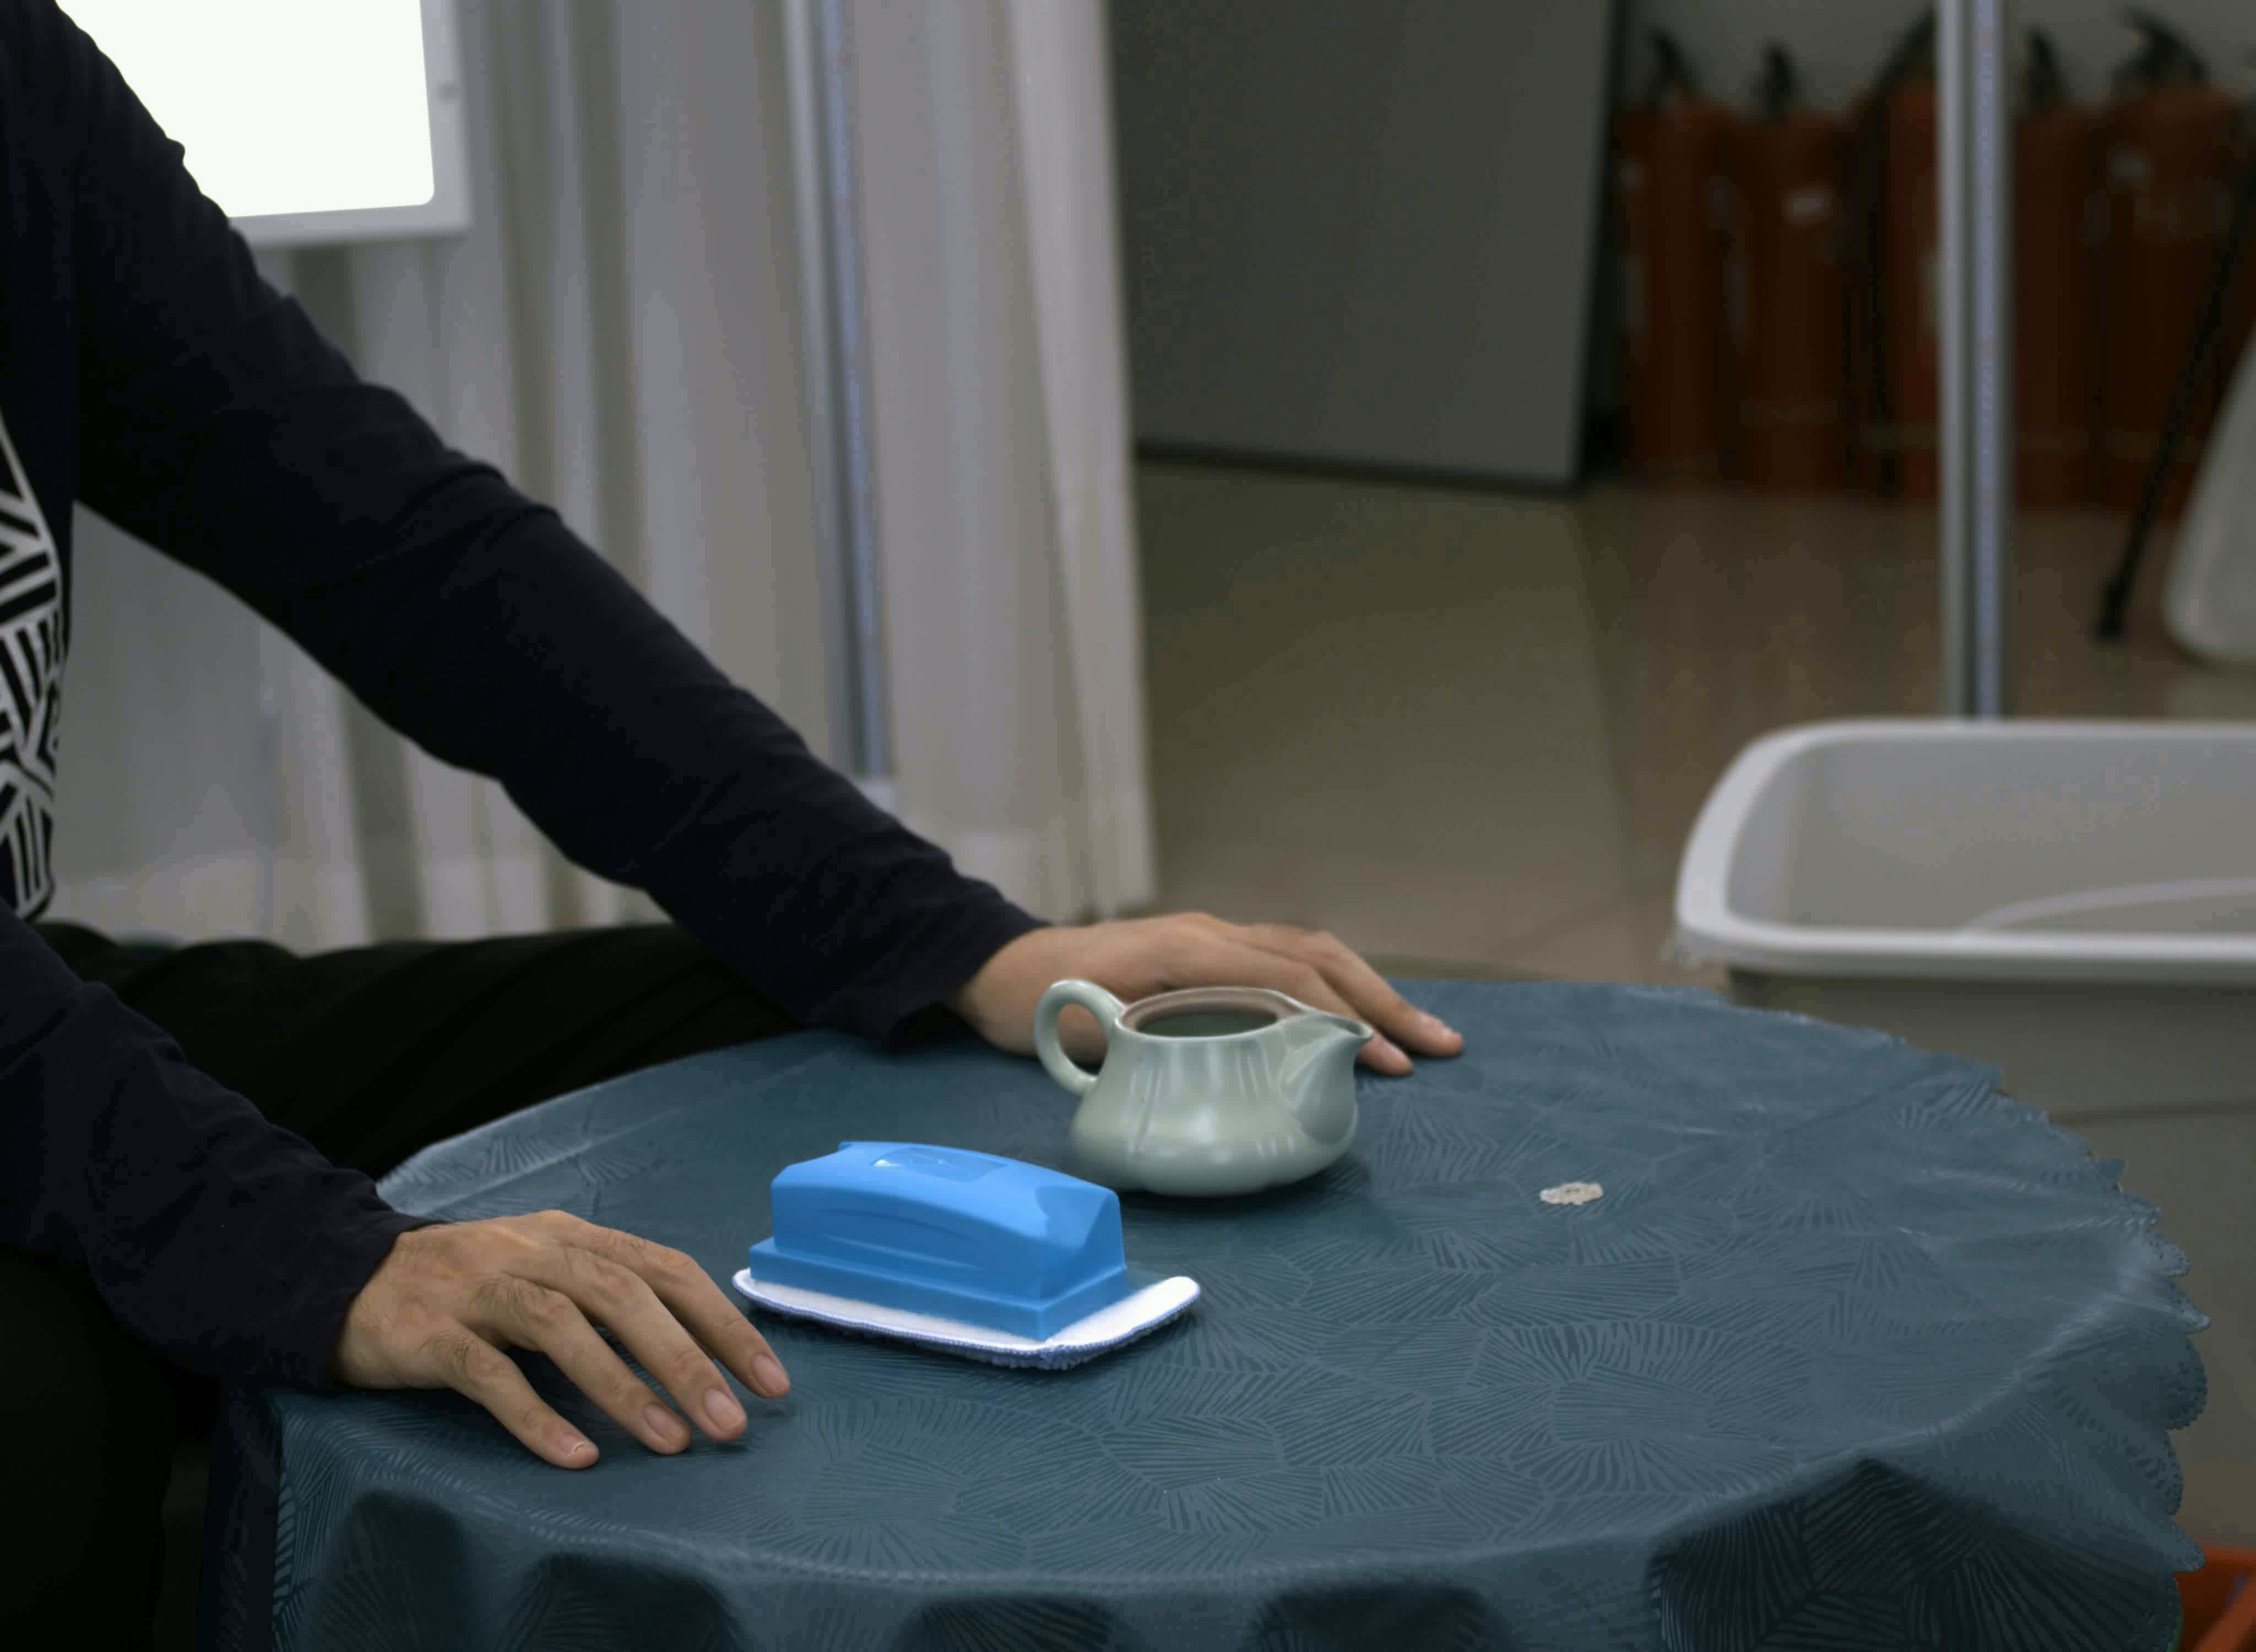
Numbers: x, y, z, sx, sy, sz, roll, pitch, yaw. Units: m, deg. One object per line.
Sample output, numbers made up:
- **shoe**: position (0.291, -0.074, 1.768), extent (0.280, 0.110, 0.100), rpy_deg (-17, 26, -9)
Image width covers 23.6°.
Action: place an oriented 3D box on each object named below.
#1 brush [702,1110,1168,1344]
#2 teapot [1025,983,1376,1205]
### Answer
- **brush**: position (-0.059, 0.122, 1.661), extent (0.145, 0.056, 0.082), rpy_deg (11, 17, 40)
- **teapot**: position (0.024, 0.087, 1.781), extent (0.138, 0.062, 0.094), rpy_deg (7, 19, 35)
